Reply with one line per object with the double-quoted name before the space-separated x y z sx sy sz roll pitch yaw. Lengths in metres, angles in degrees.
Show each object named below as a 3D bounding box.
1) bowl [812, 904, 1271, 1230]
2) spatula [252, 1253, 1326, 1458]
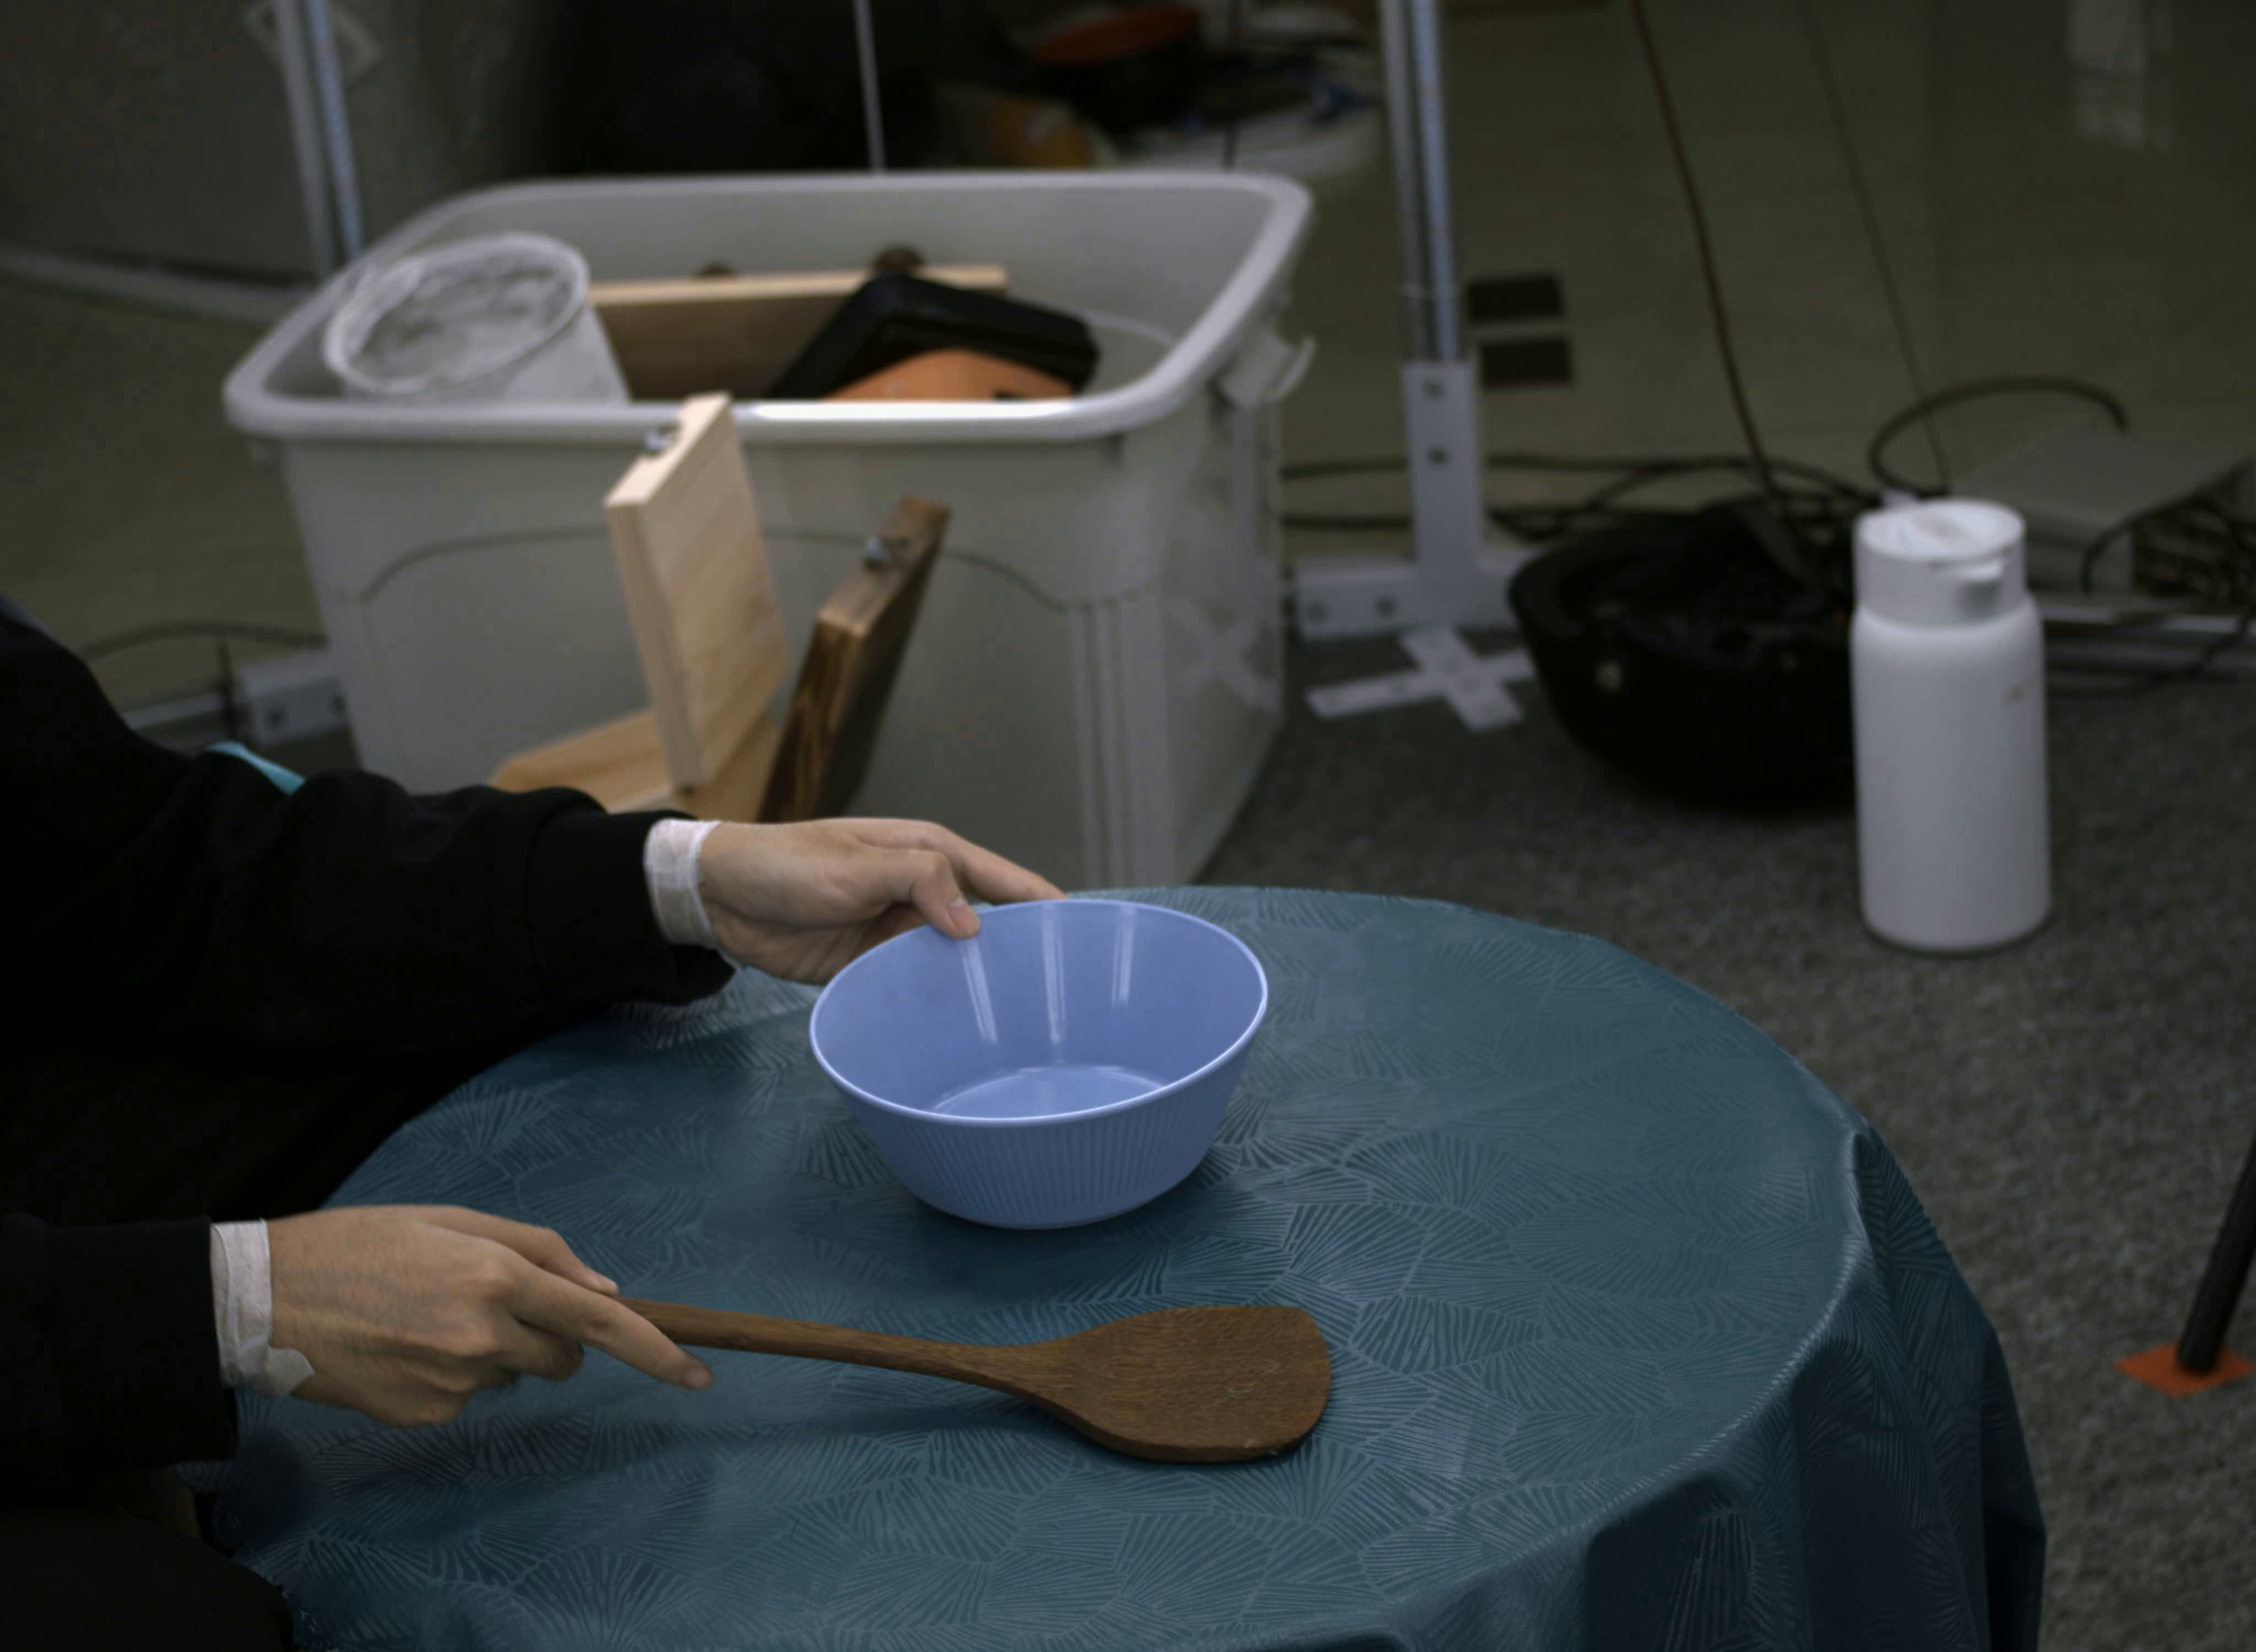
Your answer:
"bowl" -0.030 0.098 2.161 0.176 0.071 0.173 -6 26 3
"spatula" -0.122 0.181 2.014 0.385 0.016 0.094 6 26 3
